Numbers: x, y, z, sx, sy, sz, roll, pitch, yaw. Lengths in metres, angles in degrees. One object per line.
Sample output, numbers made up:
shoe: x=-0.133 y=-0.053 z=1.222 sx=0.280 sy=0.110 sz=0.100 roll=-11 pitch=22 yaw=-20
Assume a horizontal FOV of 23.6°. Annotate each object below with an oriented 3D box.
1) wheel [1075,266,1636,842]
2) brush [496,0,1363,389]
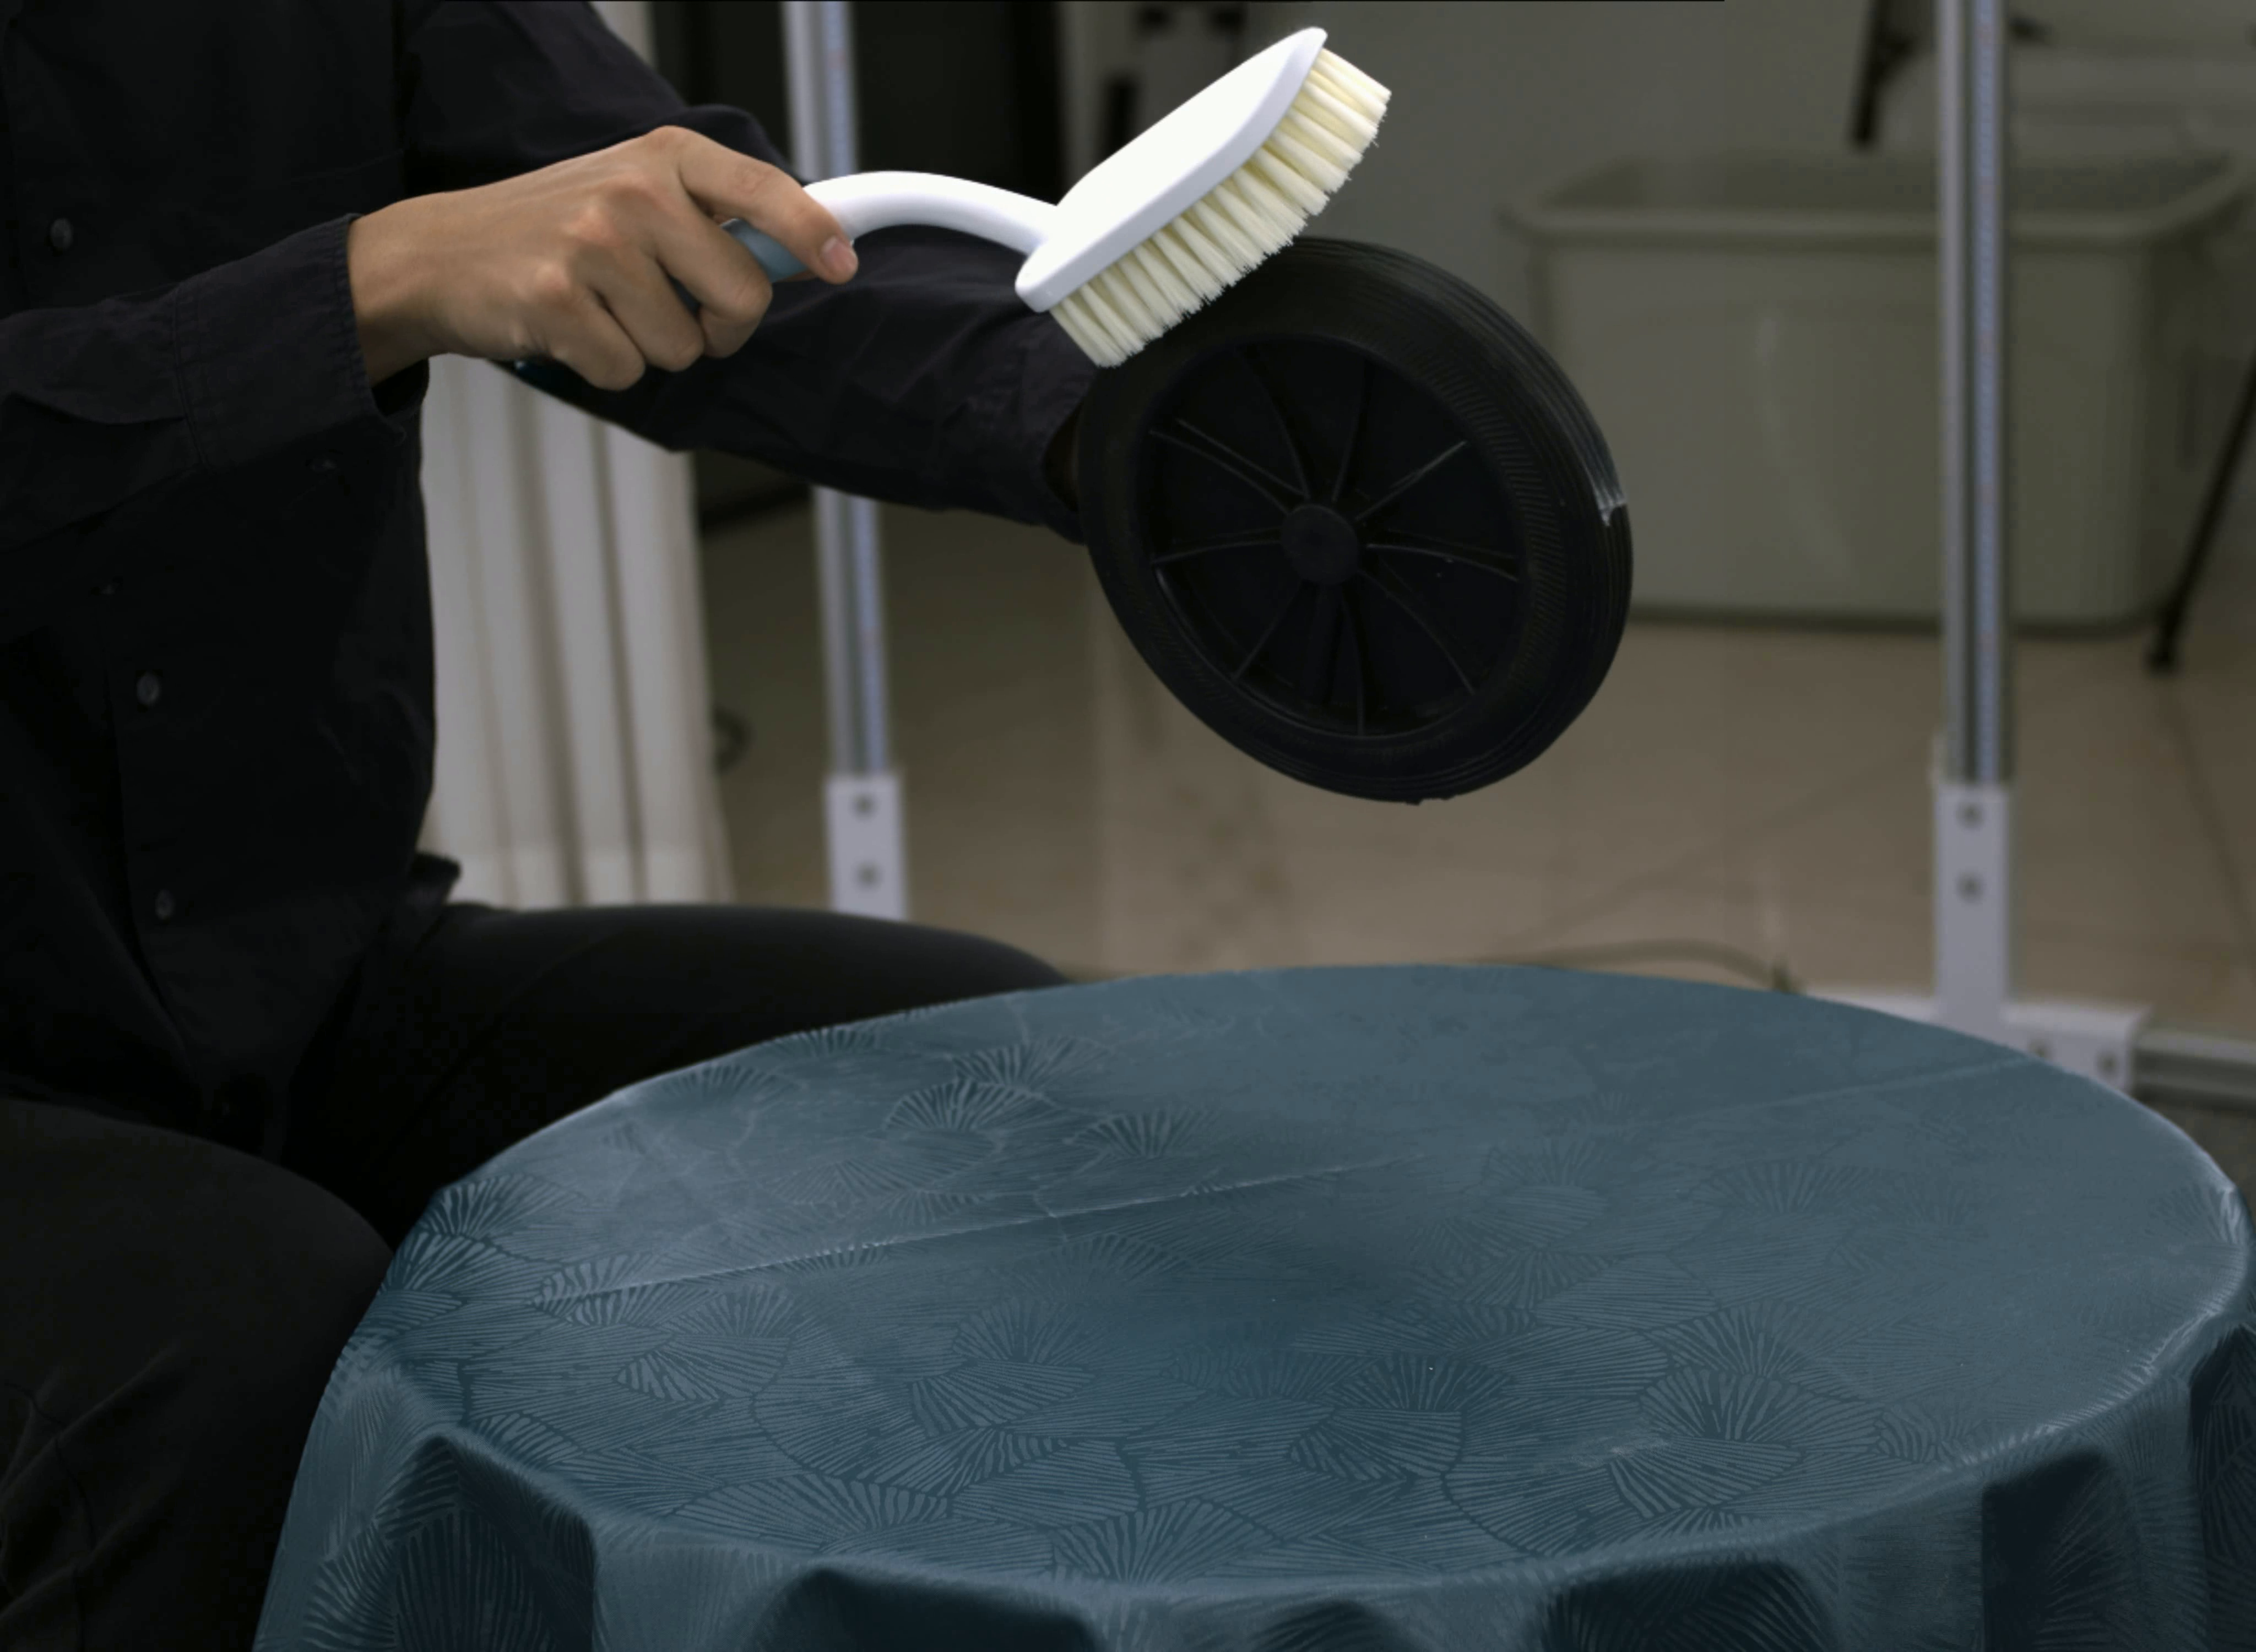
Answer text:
wheel: x=0.079 y=-0.093 z=1.695 sx=0.190 sy=0.189 sz=0.078 roll=23 pitch=37 yaw=19
brush: x=-0.058 y=-0.173 z=1.687 sx=0.327 sy=0.085 sz=0.081 roll=-19 pitch=-9 yaw=33
